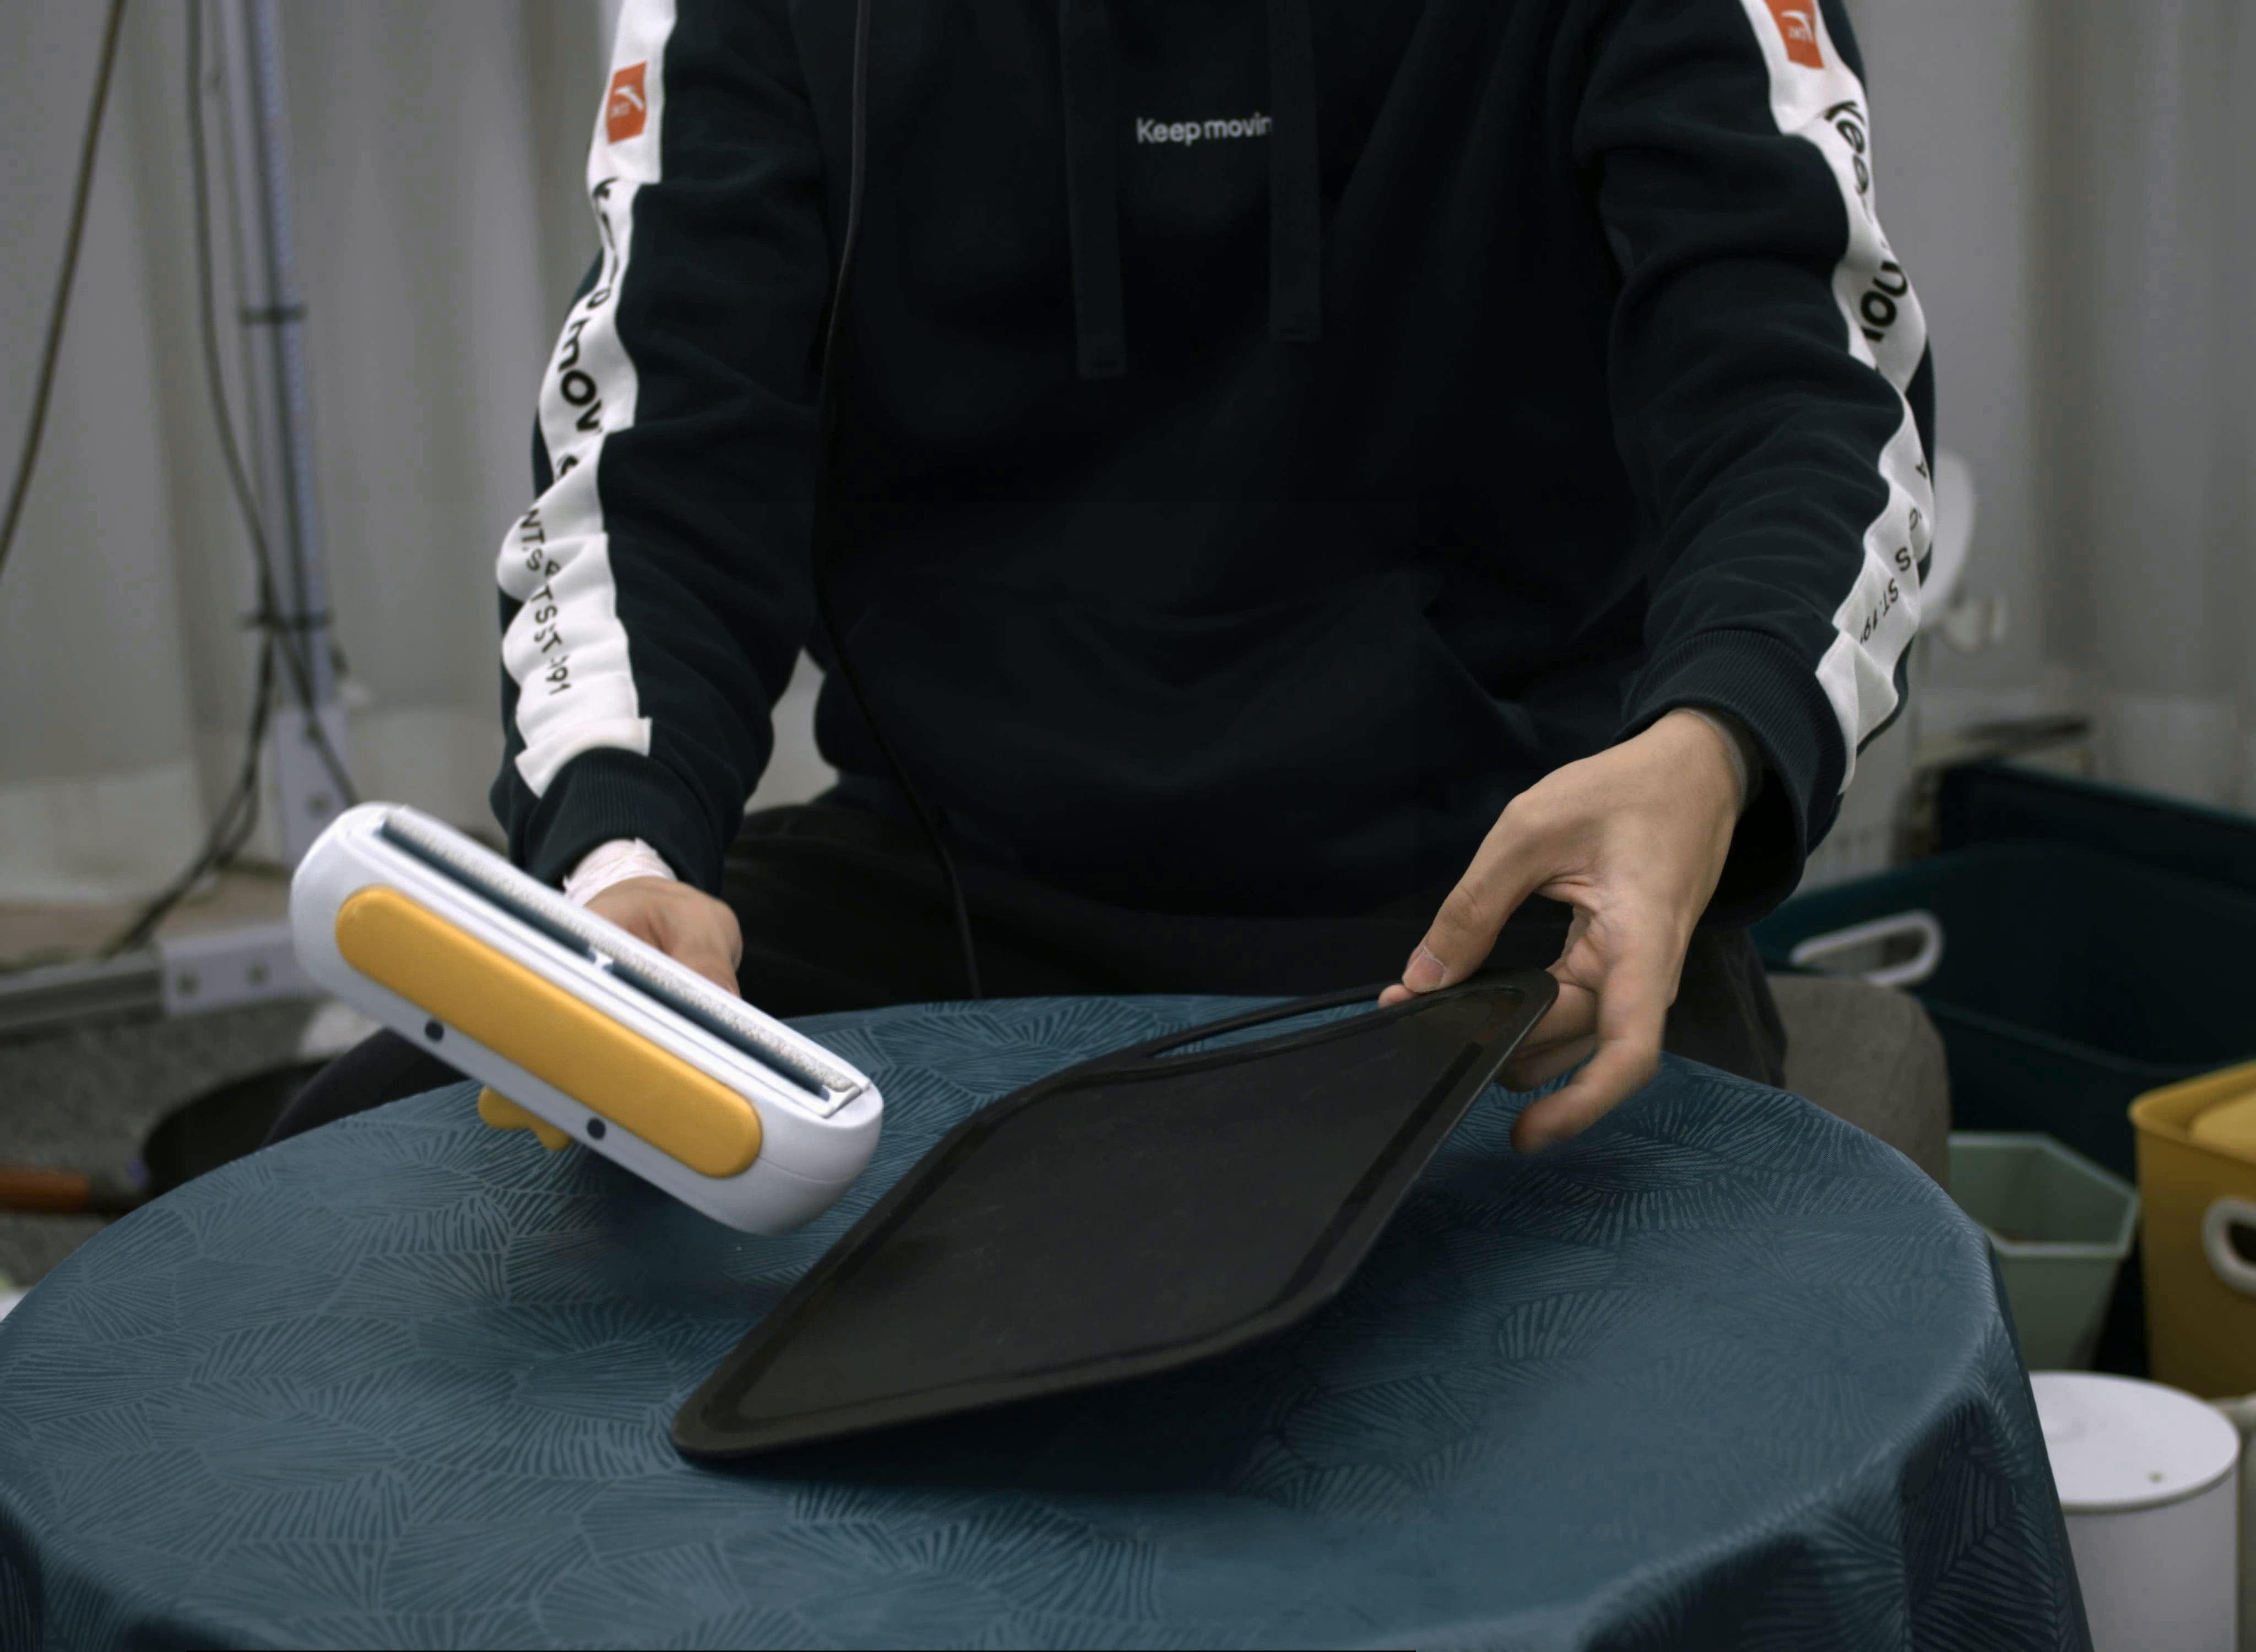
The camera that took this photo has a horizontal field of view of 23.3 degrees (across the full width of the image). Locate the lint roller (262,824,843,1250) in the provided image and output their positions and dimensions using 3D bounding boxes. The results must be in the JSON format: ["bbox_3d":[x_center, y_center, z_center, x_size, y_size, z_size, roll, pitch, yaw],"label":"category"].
[{"bbox_3d":[-0.165,0.079,1.692,0.193,0.074,0.191,27,-5,15],"label":"lint roller"}]

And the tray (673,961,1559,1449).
[{"bbox_3d":[0.004,0.104,1.608,0.211,0.010,0.327,-15,13,24],"label":"tray"}]
